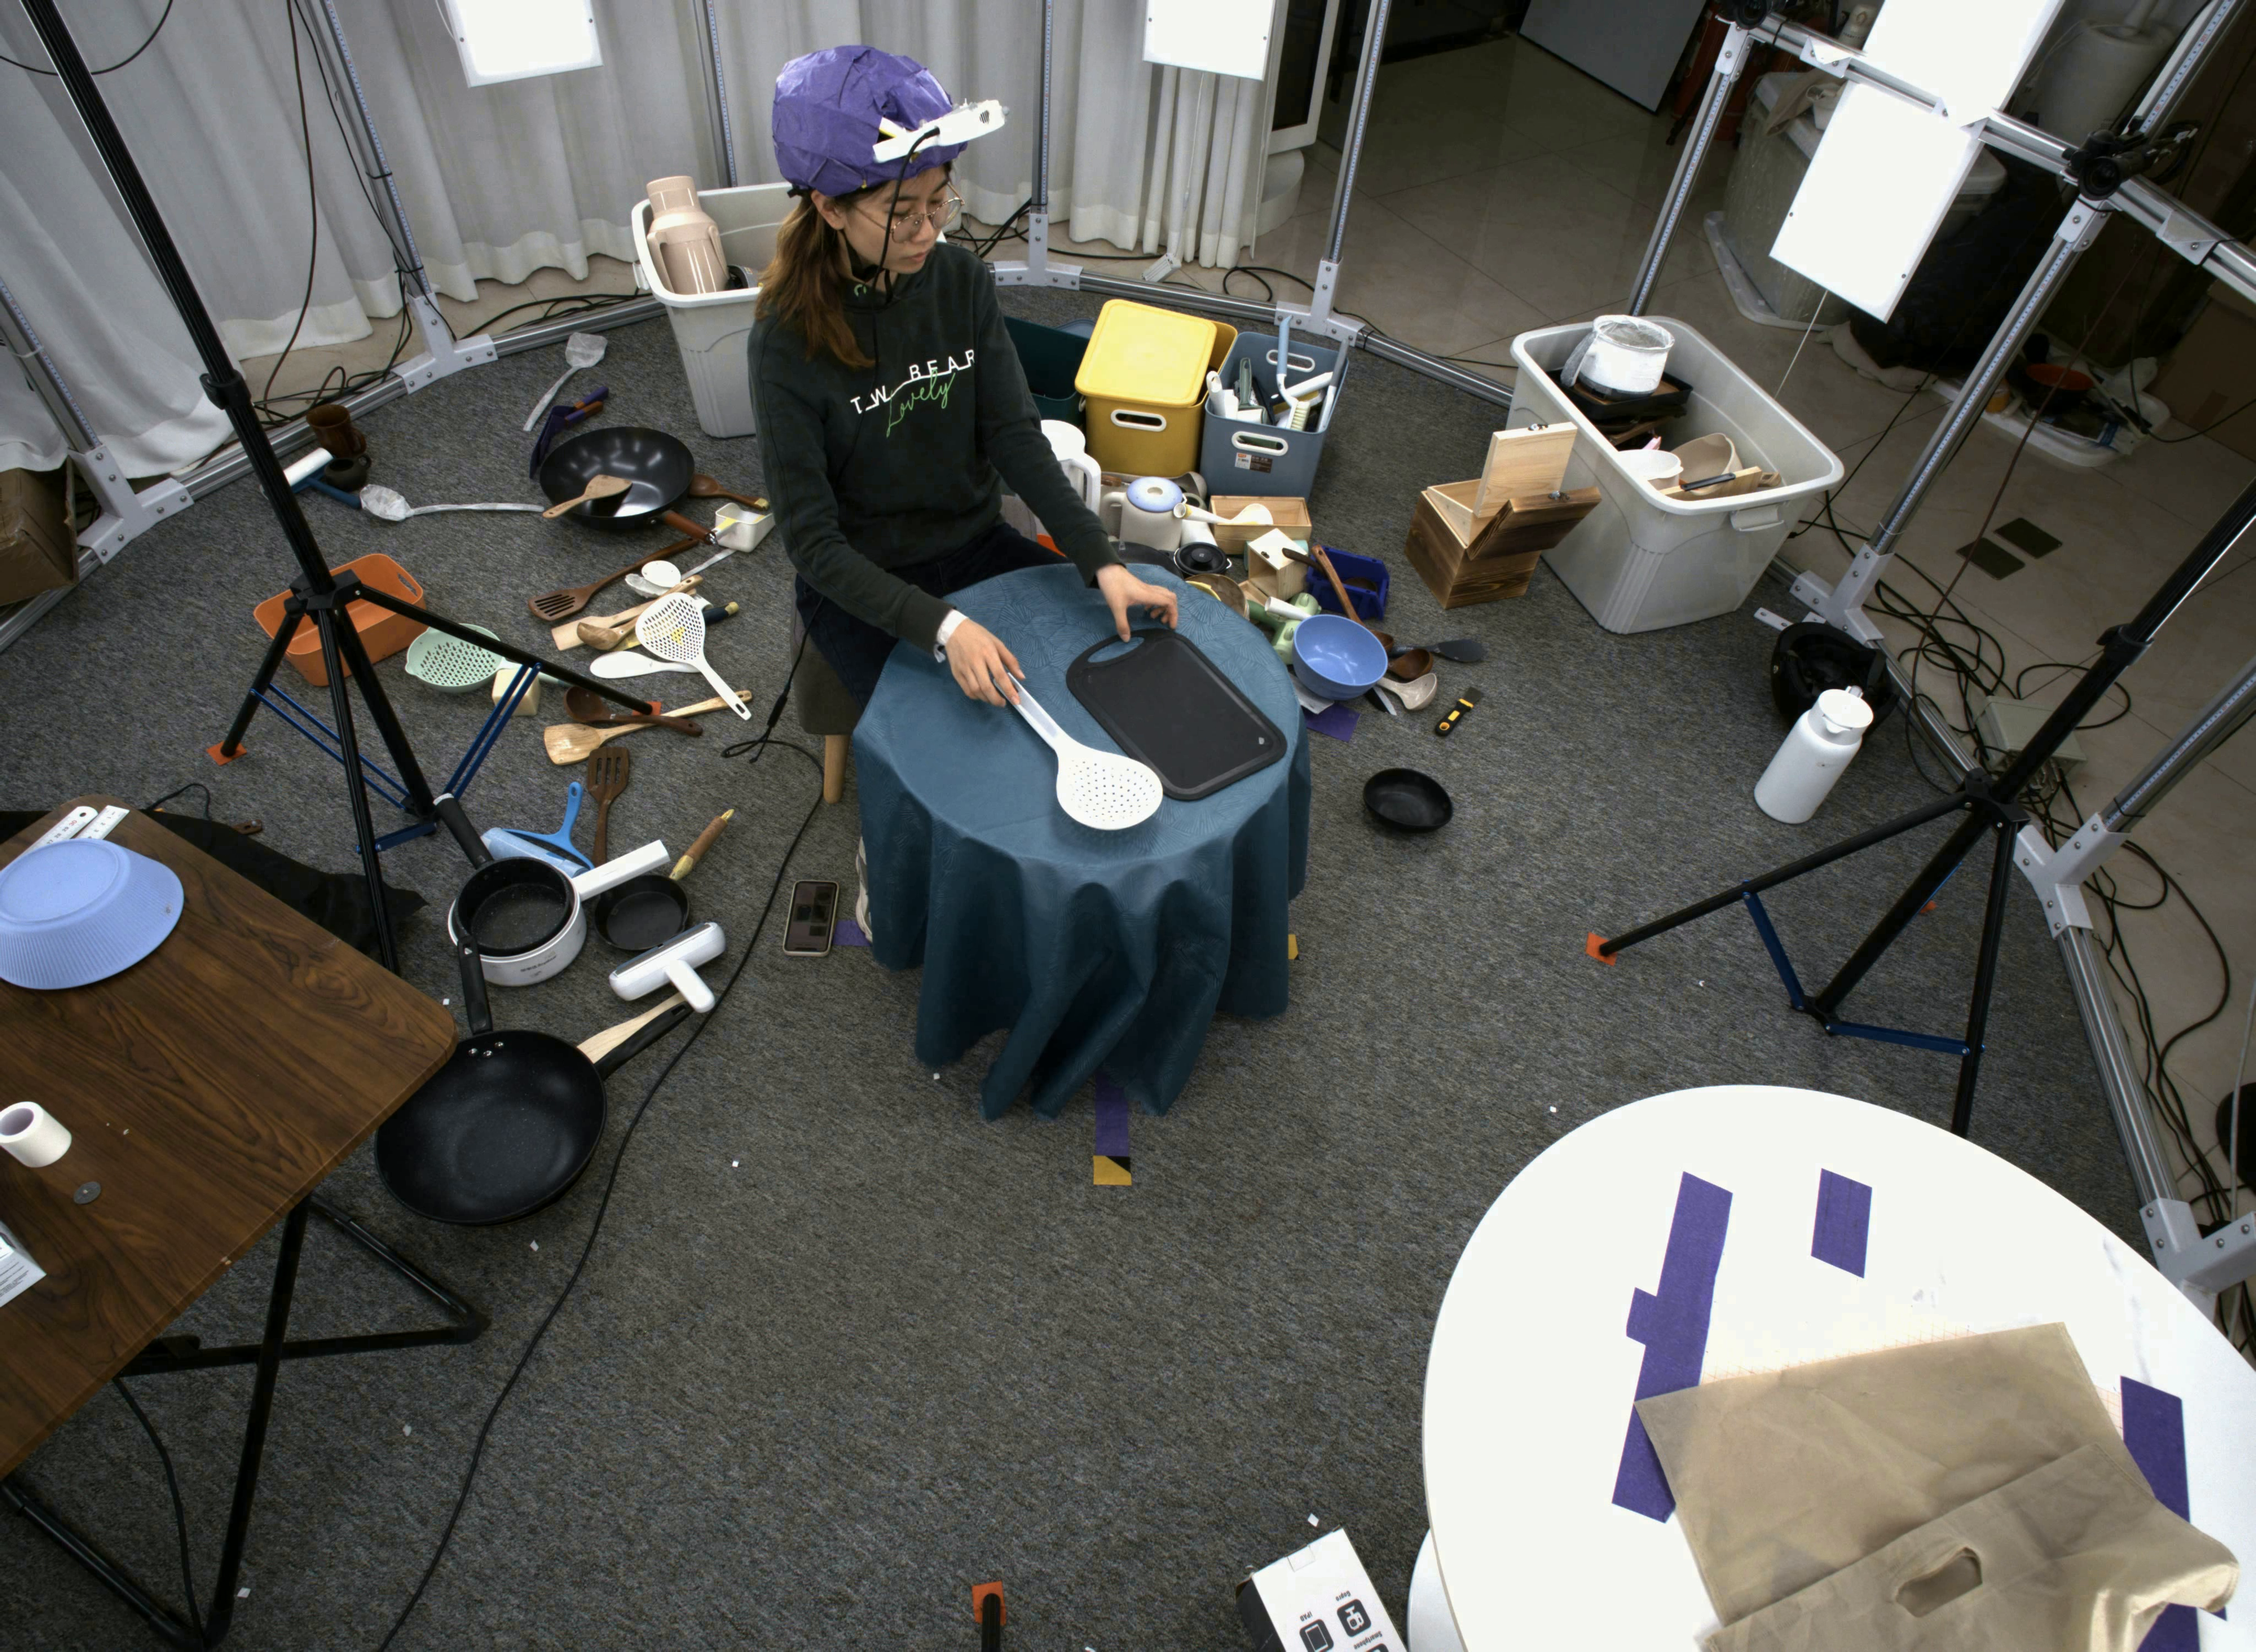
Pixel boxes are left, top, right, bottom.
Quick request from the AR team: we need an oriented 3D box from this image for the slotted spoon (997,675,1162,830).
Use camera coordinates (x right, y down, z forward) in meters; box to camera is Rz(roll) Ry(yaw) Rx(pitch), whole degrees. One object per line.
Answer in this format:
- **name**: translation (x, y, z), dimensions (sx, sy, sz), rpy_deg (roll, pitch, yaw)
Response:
- **slotted spoon**: translation (-0.083, -0.105, 1.740), dimensions (0.136, 0.044, 0.357), rpy_deg (-22, 53, -24)

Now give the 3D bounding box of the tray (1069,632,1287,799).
- **tray**: translation (0.063, -0.170, 1.832), dimensions (0.212, 0.009, 0.332), rpy_deg (-25, 54, -24)
